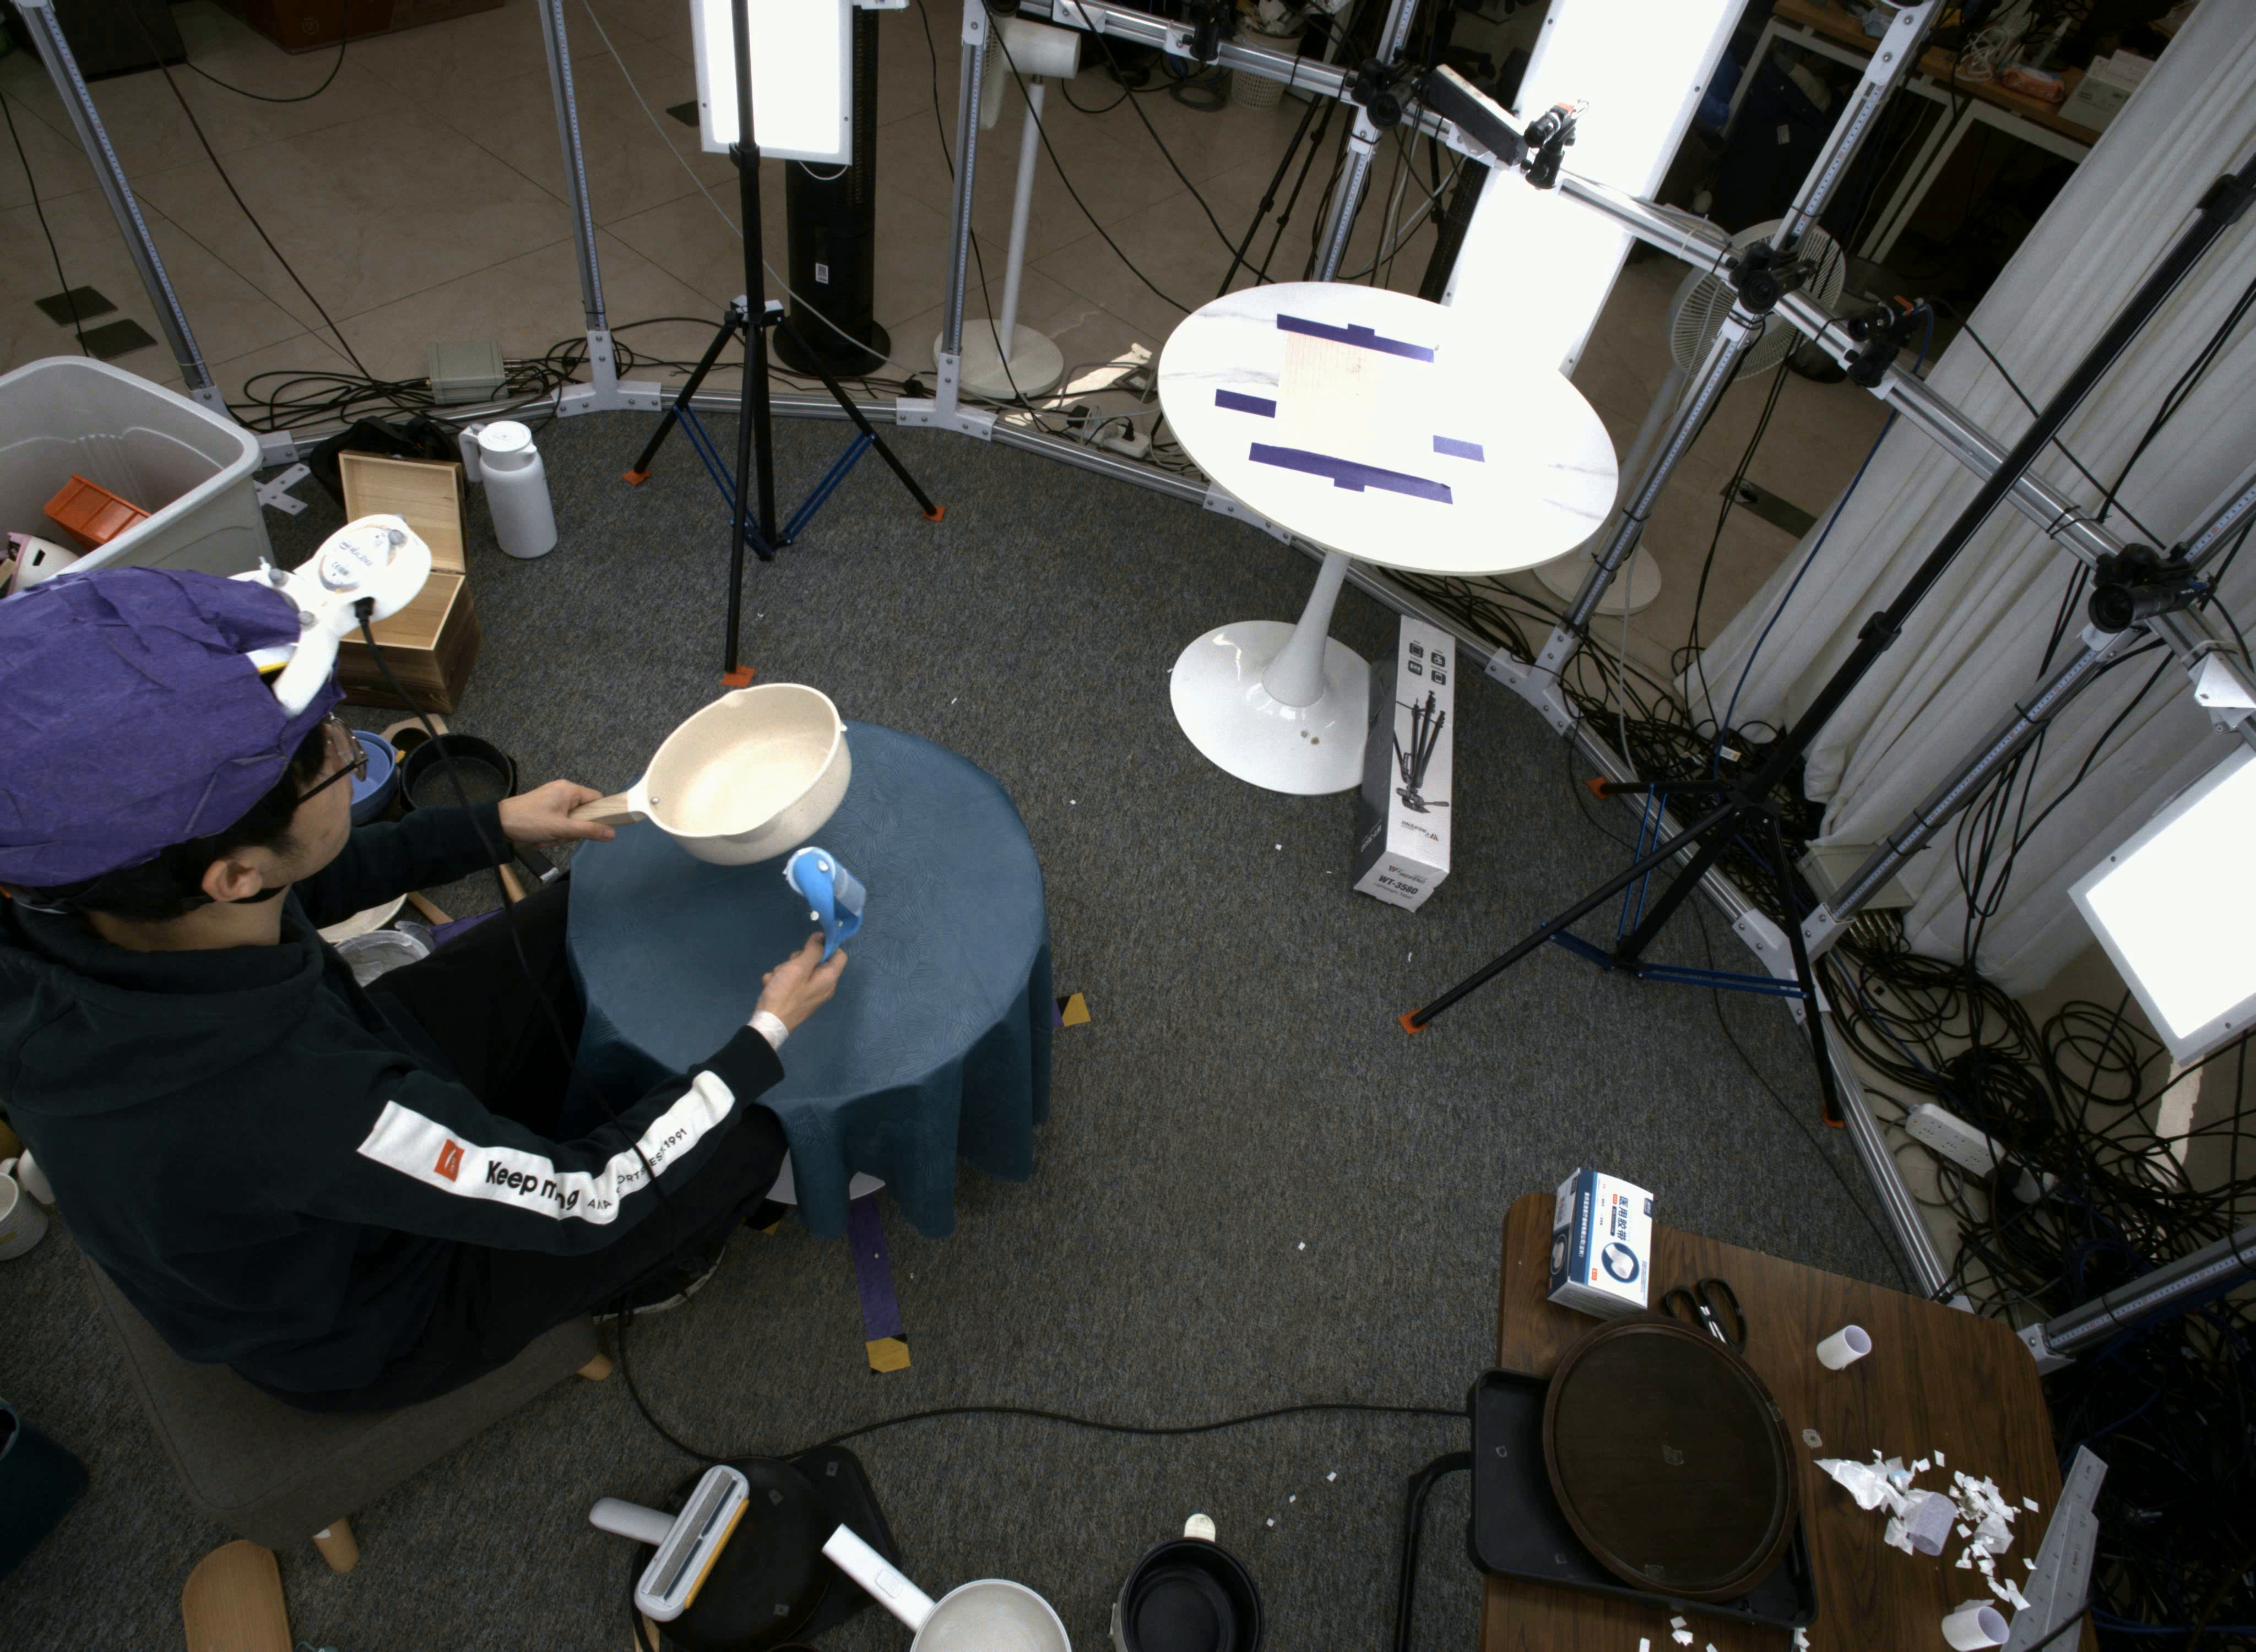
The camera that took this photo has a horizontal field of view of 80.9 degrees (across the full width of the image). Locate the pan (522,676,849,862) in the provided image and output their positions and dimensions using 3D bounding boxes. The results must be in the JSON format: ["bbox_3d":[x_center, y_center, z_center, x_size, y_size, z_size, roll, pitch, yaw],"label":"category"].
[{"bbox_3d":[-0.538,-0.032,1.546,0.432,0.106,0.255,-23,48,-4],"label":"pan"}]

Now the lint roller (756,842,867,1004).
[{"bbox_3d":[-0.356,0.119,1.459,0.067,0.230,0.181,18,81,1],"label":"lint roller"}]
